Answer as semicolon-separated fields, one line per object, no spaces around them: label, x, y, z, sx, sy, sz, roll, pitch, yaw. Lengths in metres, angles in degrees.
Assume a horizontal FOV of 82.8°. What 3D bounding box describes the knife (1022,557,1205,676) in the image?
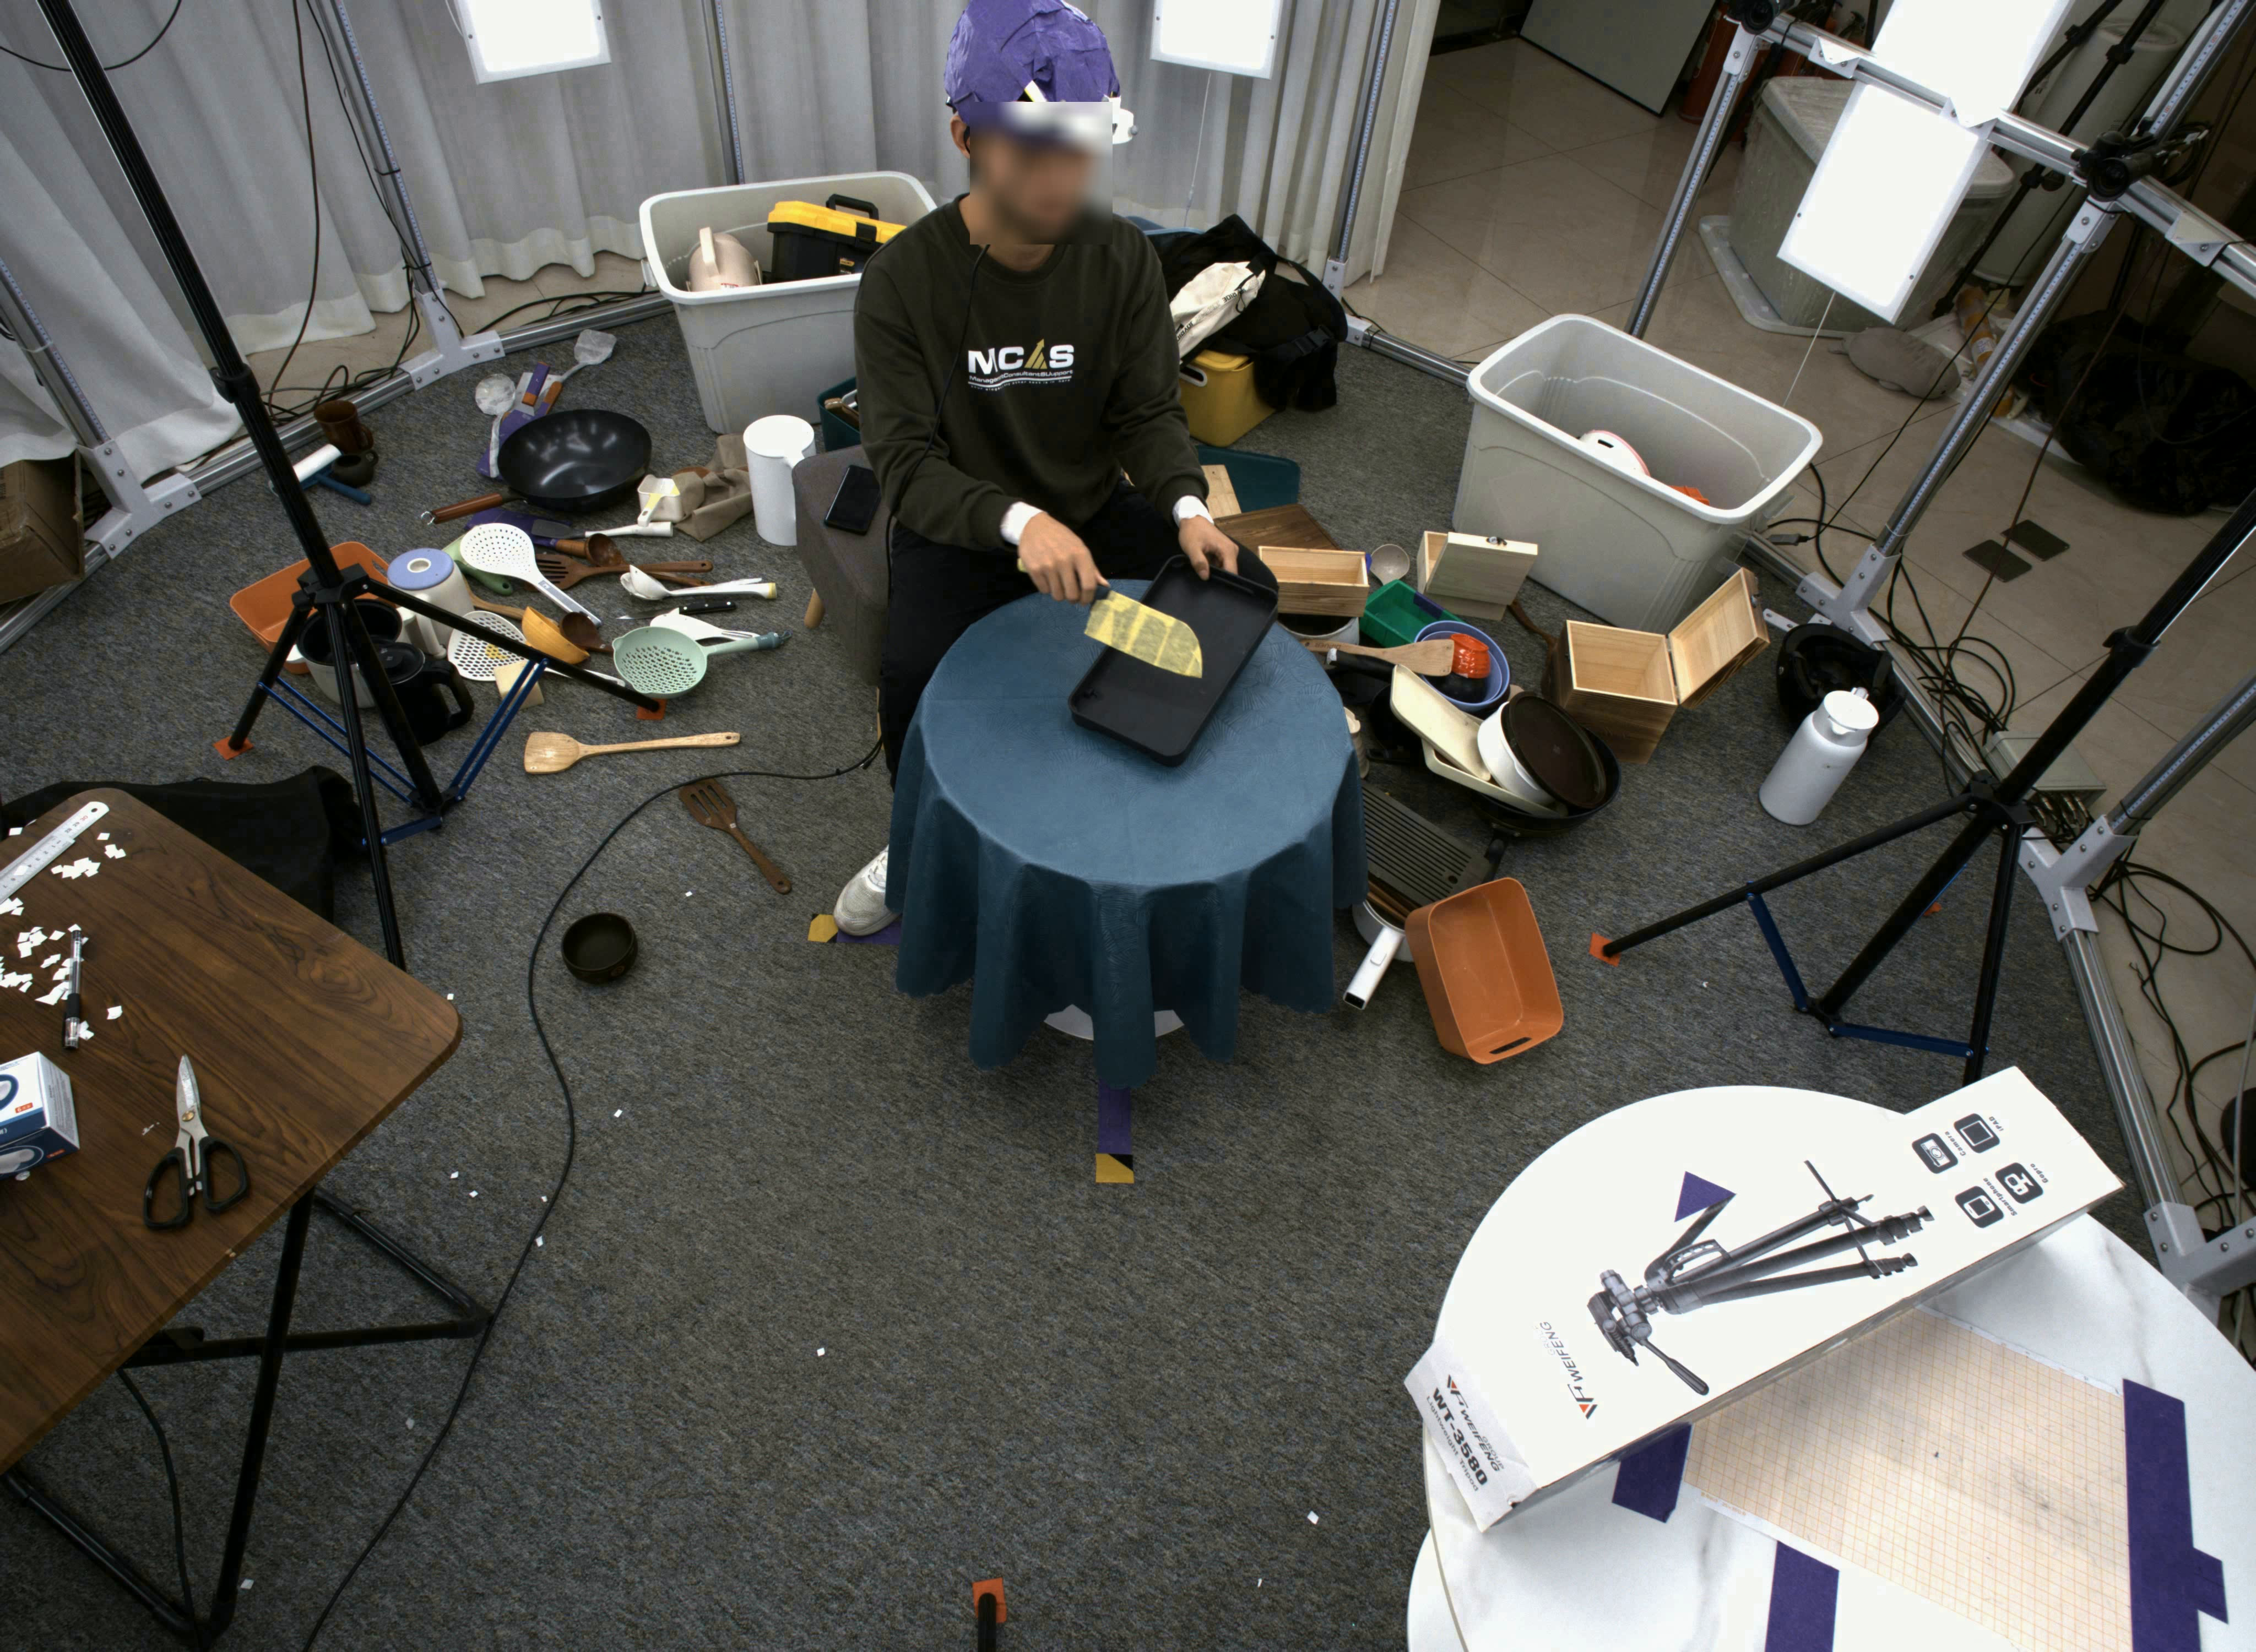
knife;-0.022;-0.287;1.760;0.290;0.080;0.027;29;21;7

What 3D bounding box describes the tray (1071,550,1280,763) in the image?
tray;0.071;-0.245;1.816;0.186;0.036;0.322;23;65;18
